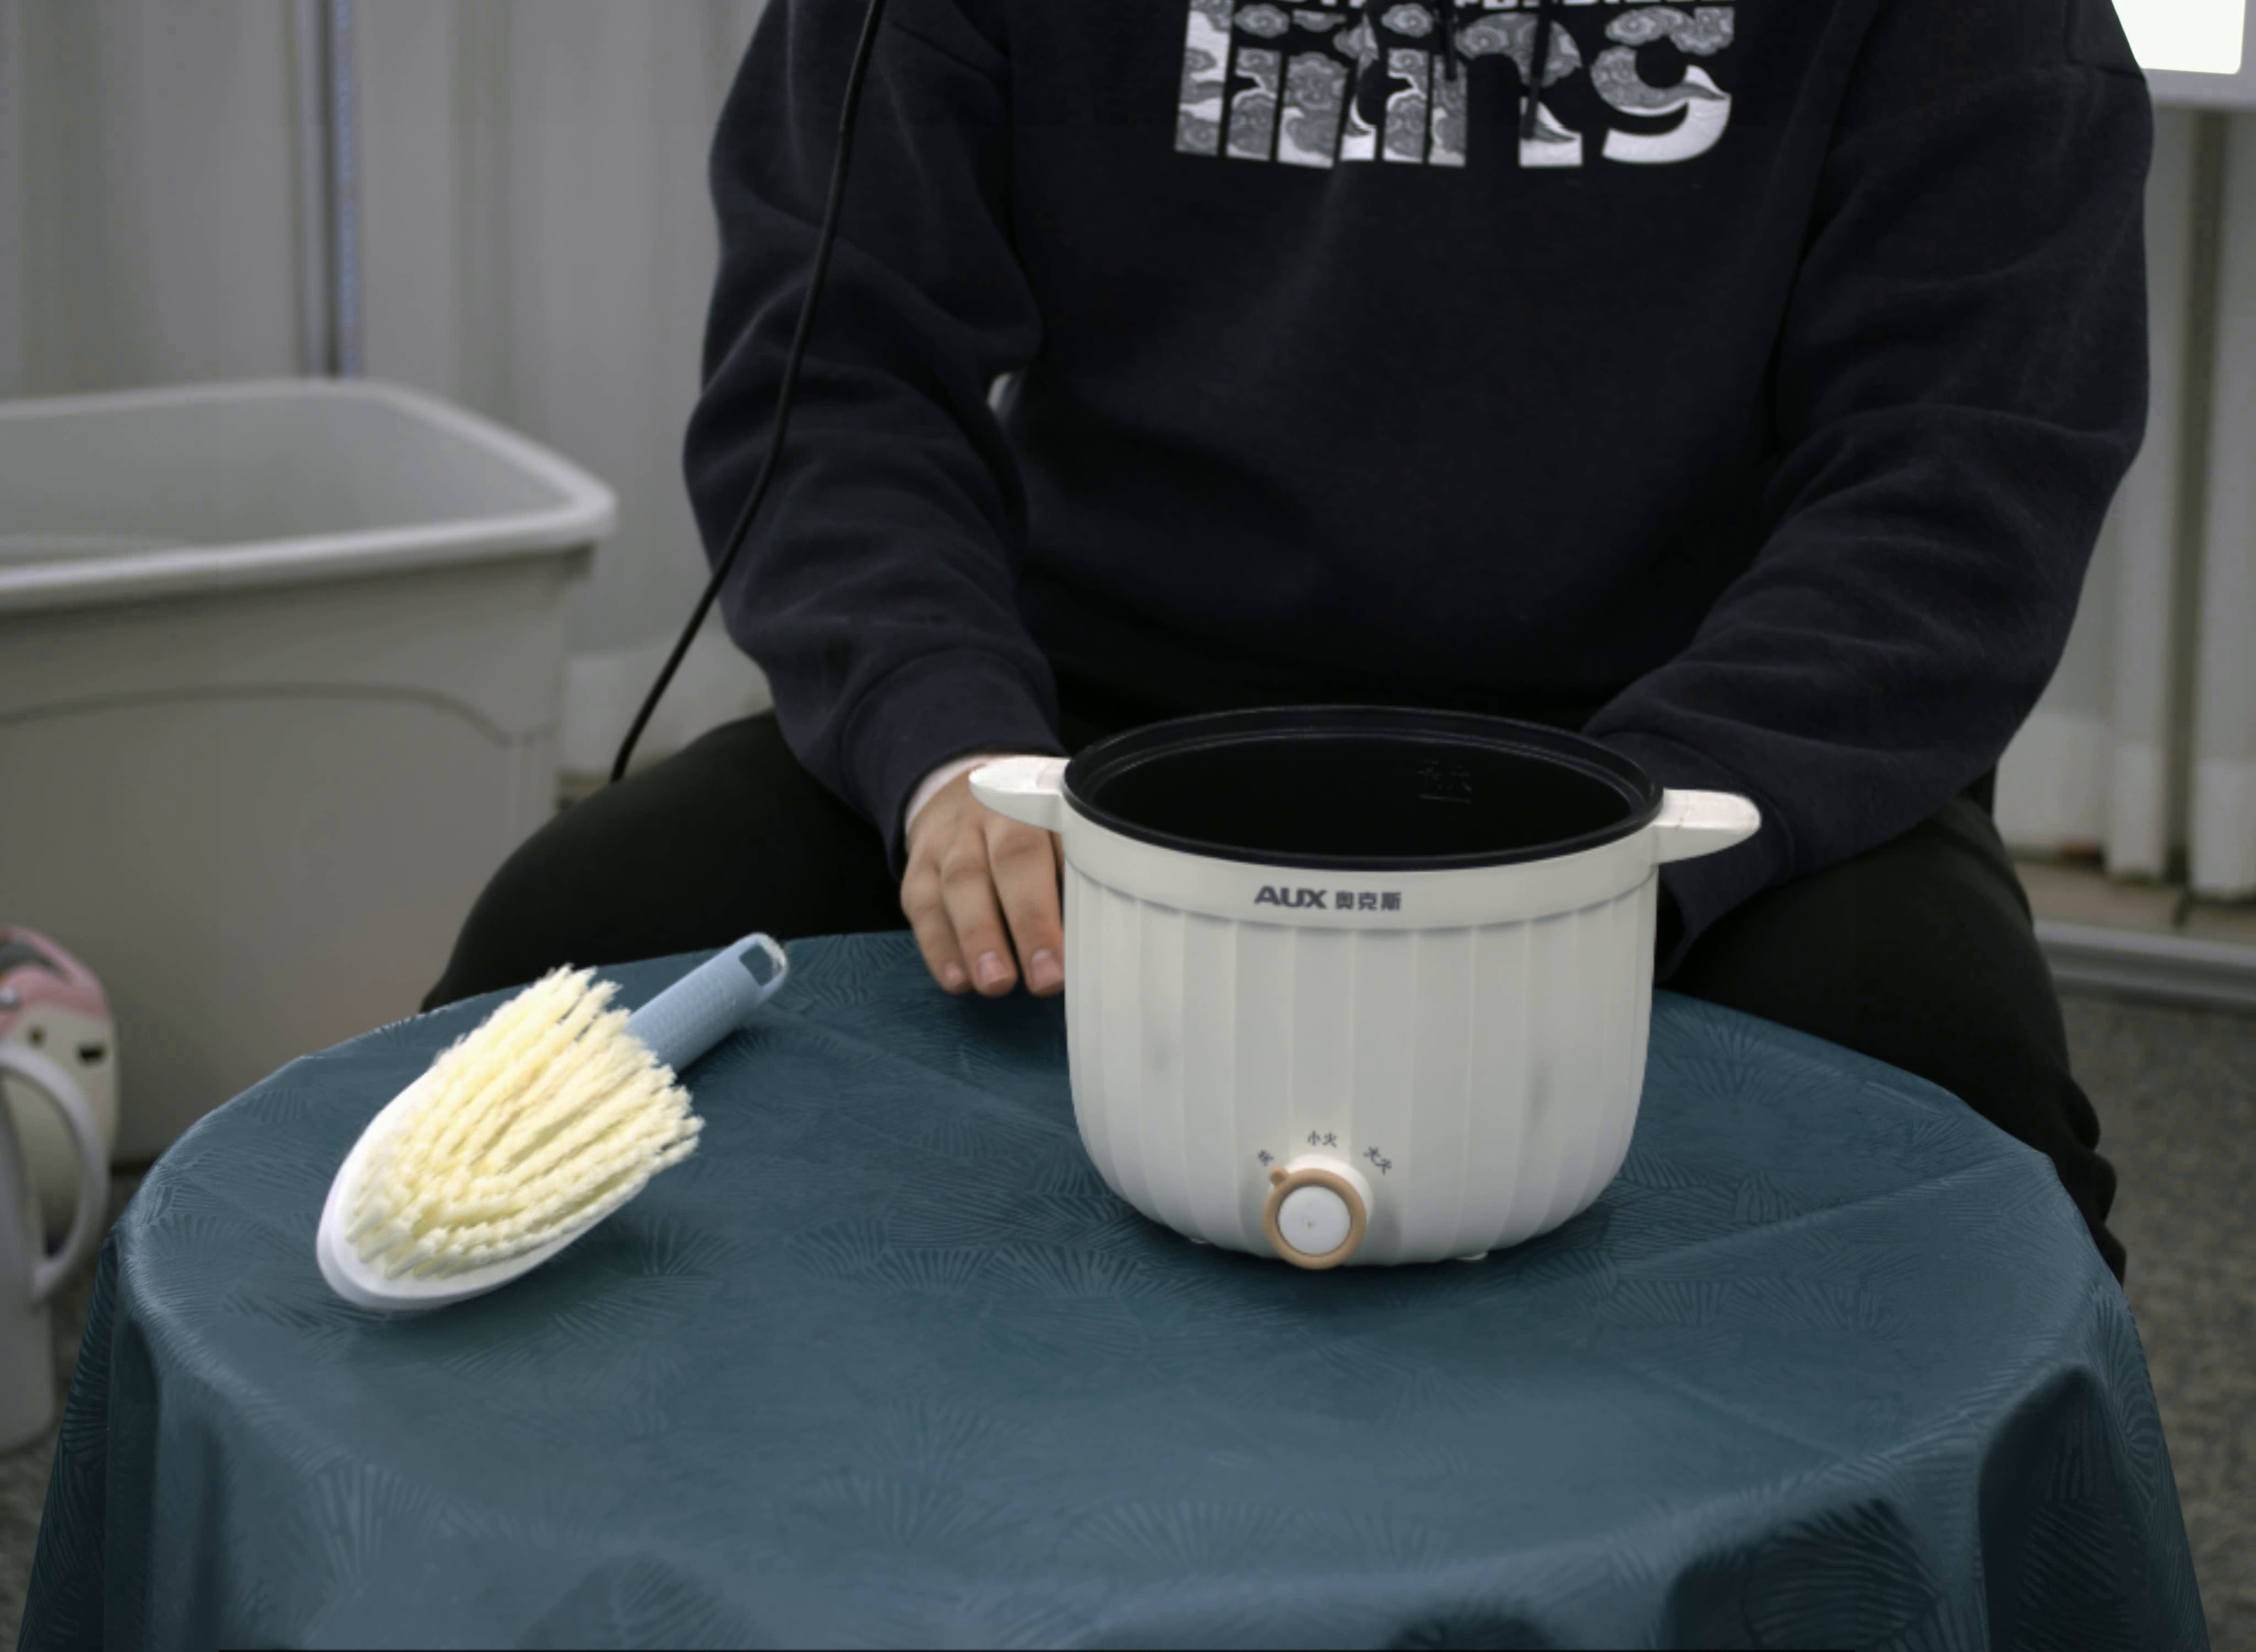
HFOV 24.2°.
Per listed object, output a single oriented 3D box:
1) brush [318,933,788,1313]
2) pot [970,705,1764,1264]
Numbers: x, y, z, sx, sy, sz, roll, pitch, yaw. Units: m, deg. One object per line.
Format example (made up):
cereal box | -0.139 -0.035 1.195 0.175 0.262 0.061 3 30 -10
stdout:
brush | -0.154 0.066 1.632 0.084 0.084 0.325 2 16 18
pot | 0.070 0.050 1.593 0.239 0.143 0.190 2 13 8
